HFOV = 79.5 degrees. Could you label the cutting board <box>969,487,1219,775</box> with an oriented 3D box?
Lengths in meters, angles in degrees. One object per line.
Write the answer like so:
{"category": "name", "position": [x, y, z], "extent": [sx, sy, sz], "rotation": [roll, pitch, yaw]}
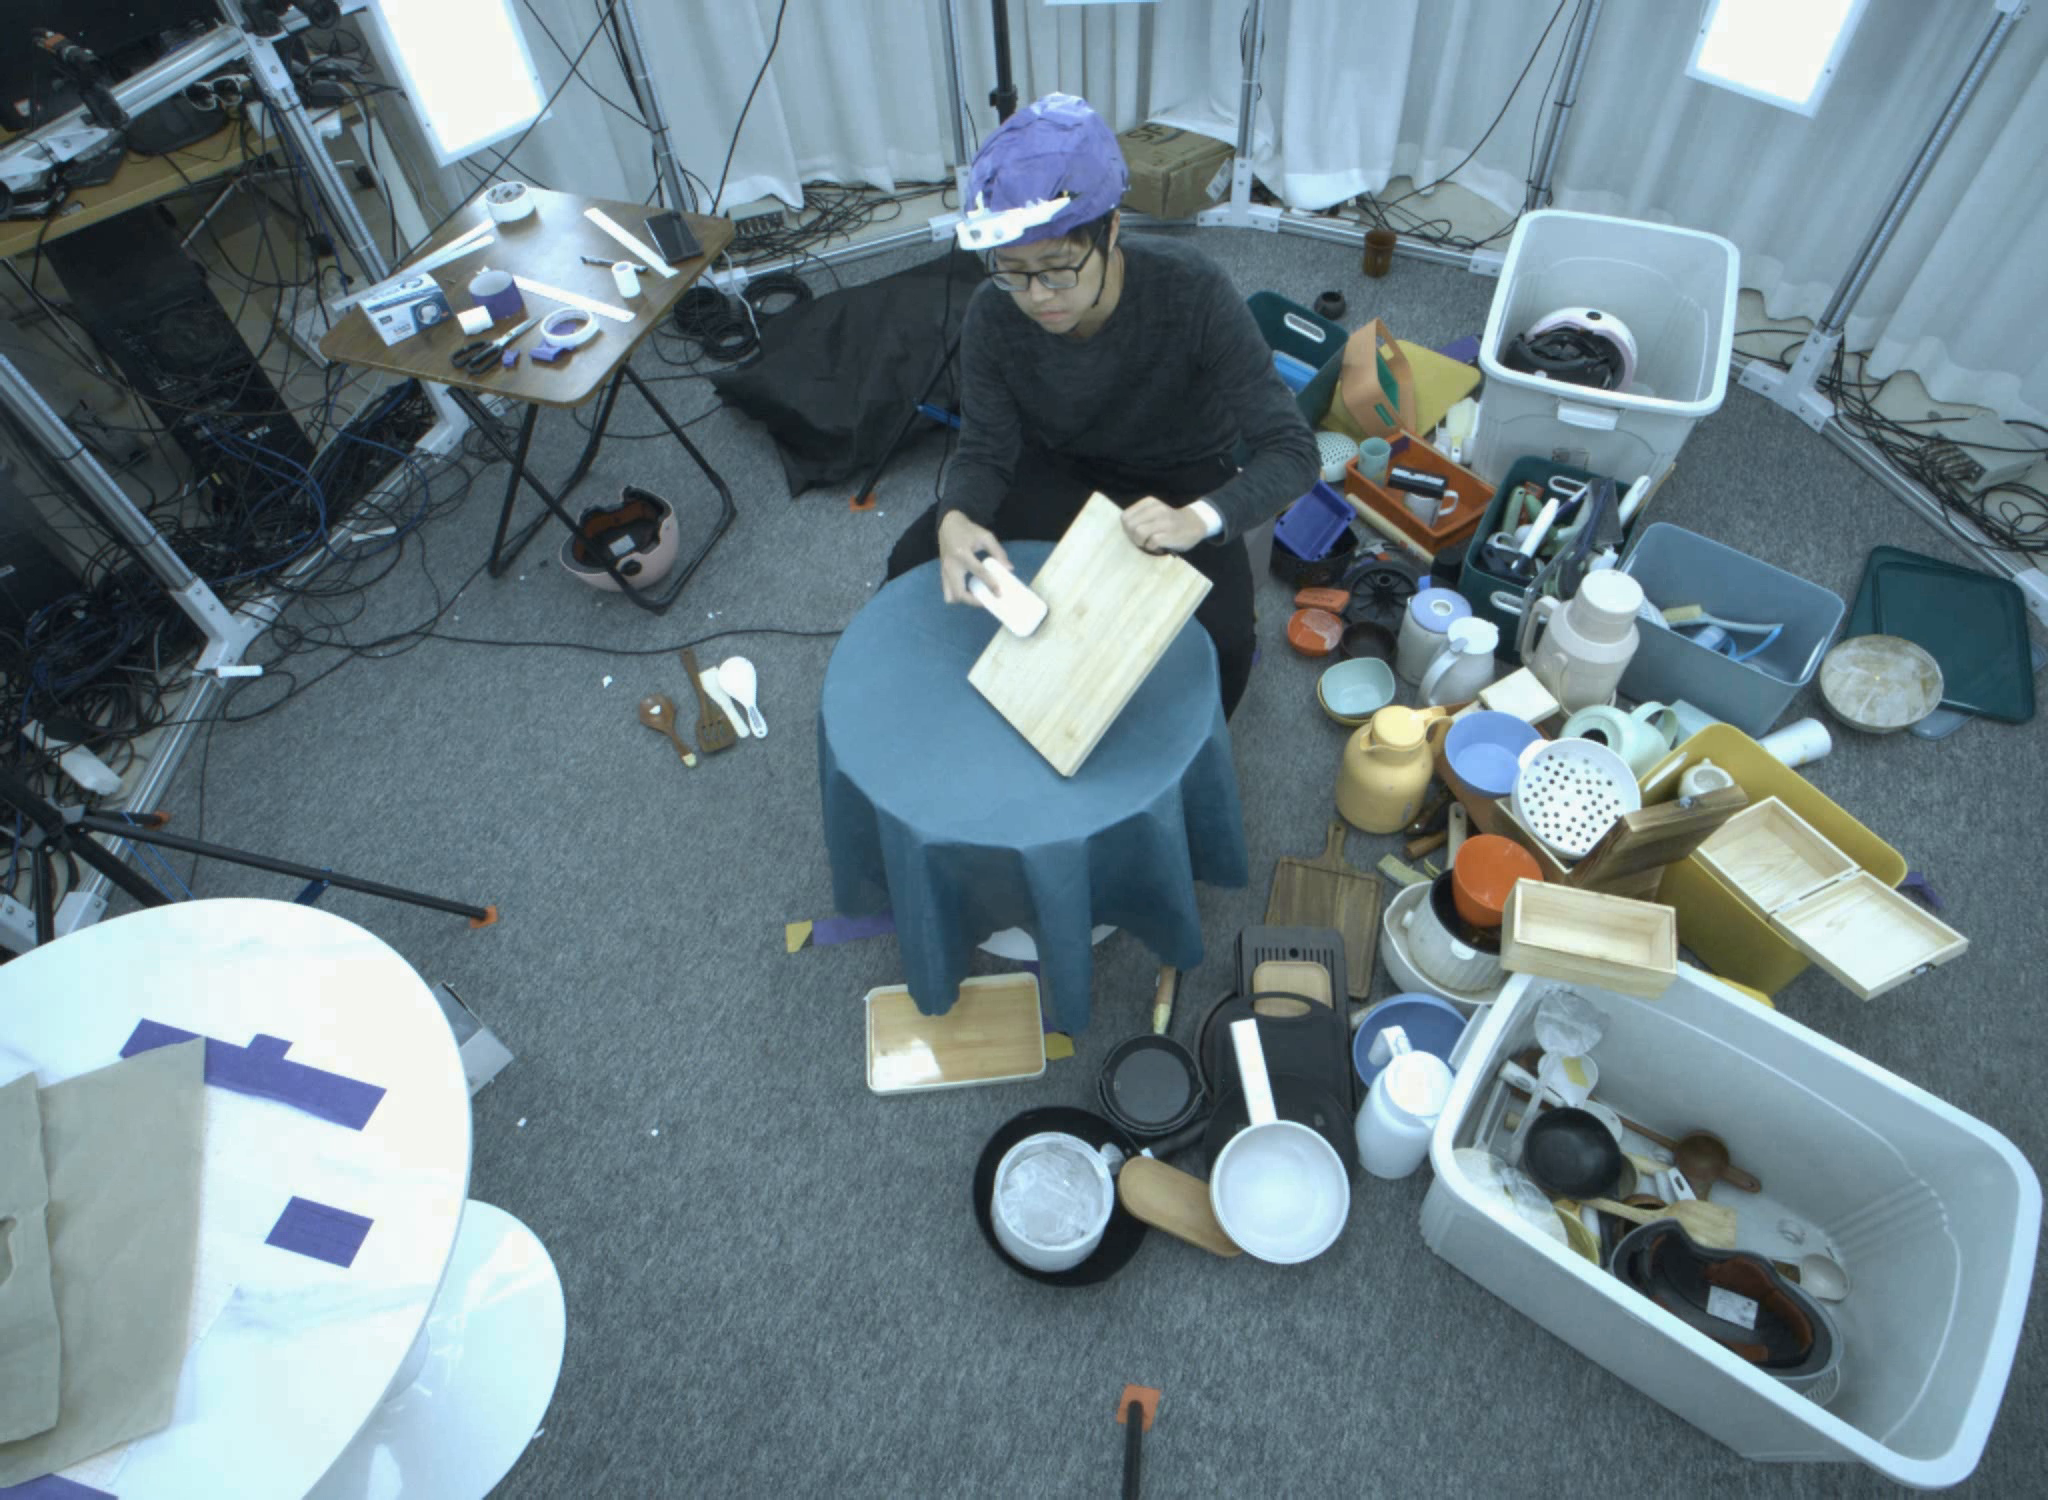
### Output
{"category": "cutting board", "position": [0.089, -0.171, 1.757], "extent": [0.246, 0.024, 0.348], "rotation": [44, 108, 28]}

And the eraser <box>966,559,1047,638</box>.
{"category": "eraser", "position": [-0.026, -0.223, 1.797], "extent": [0.129, 0.035, 0.063], "rotation": [45, 108, 18]}
